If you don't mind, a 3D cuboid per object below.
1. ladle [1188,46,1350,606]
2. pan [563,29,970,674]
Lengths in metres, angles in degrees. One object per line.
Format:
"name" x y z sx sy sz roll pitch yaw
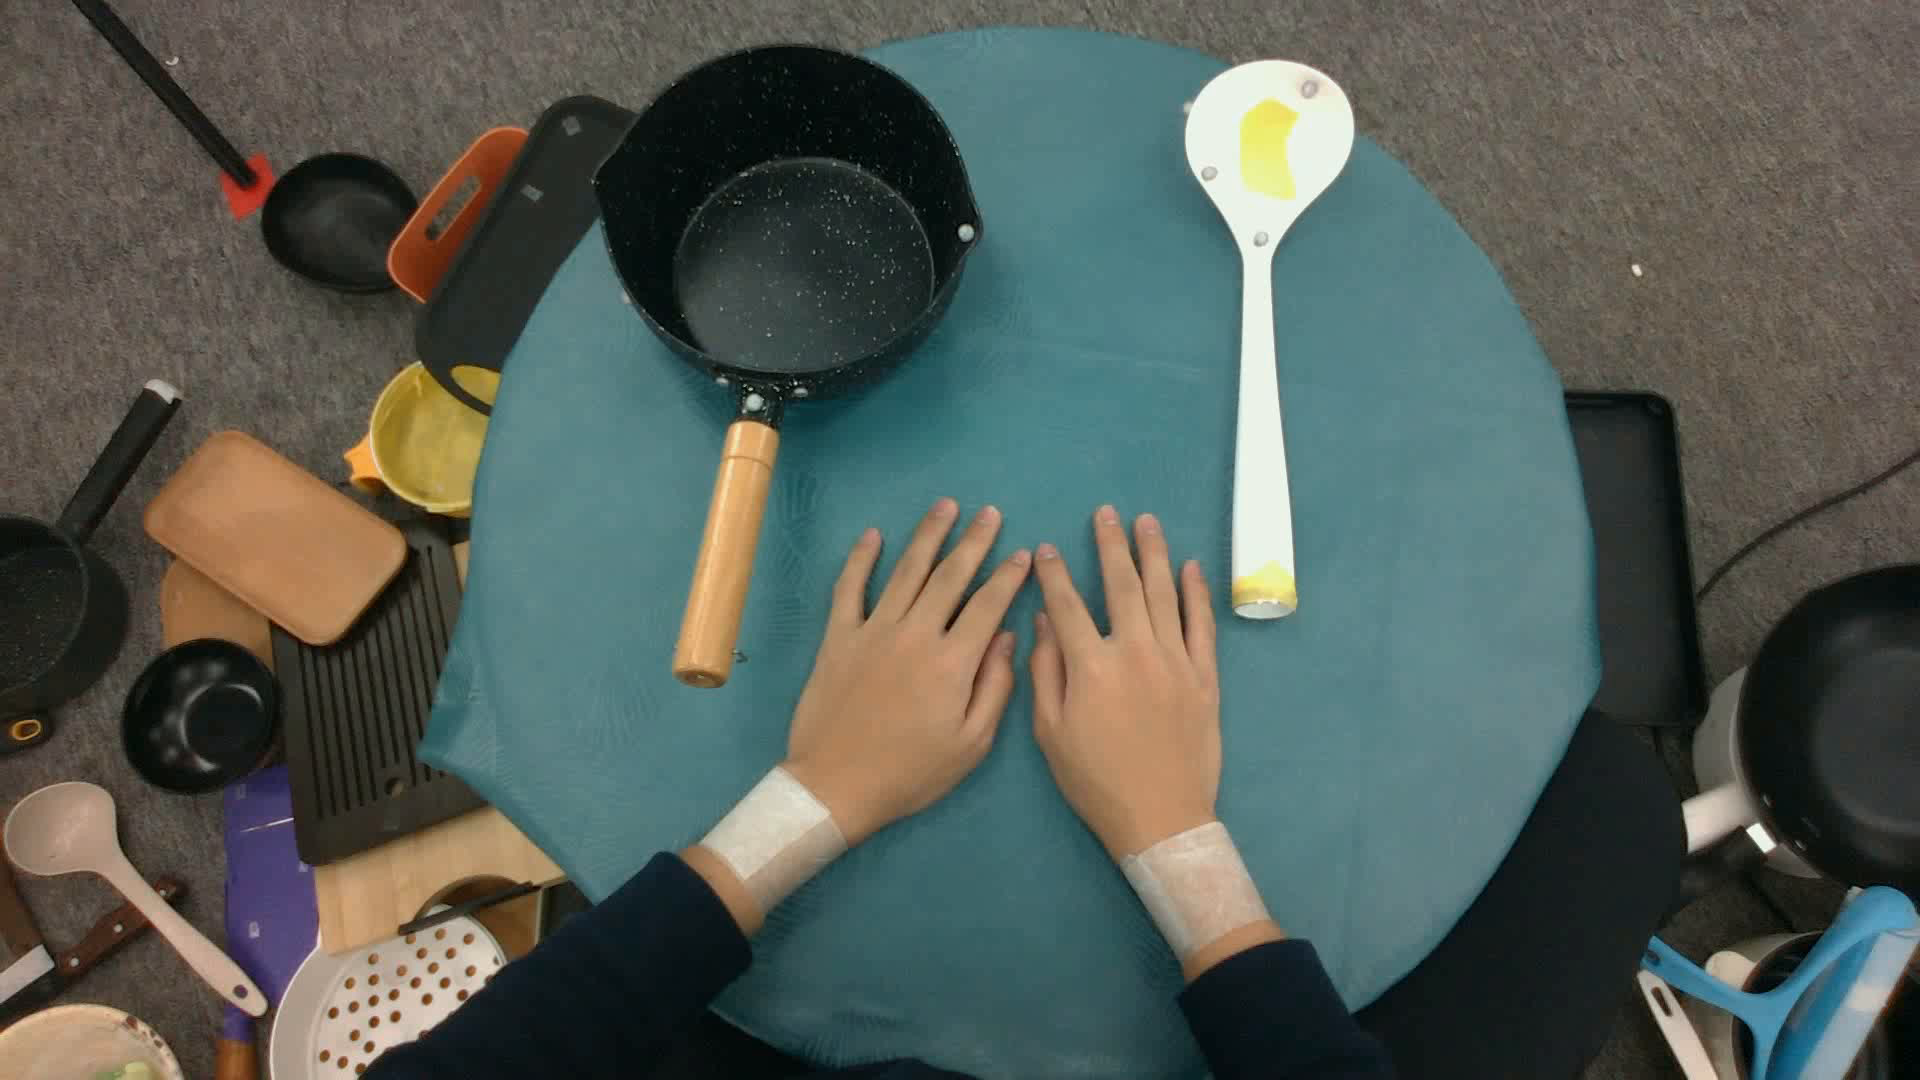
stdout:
"ladle" 0.160 -0.115 0.734 0.090 0.070 0.293 6 76 -5
"pan" -0.105 -0.093 0.701 0.207 0.108 0.343 6 74 -1
